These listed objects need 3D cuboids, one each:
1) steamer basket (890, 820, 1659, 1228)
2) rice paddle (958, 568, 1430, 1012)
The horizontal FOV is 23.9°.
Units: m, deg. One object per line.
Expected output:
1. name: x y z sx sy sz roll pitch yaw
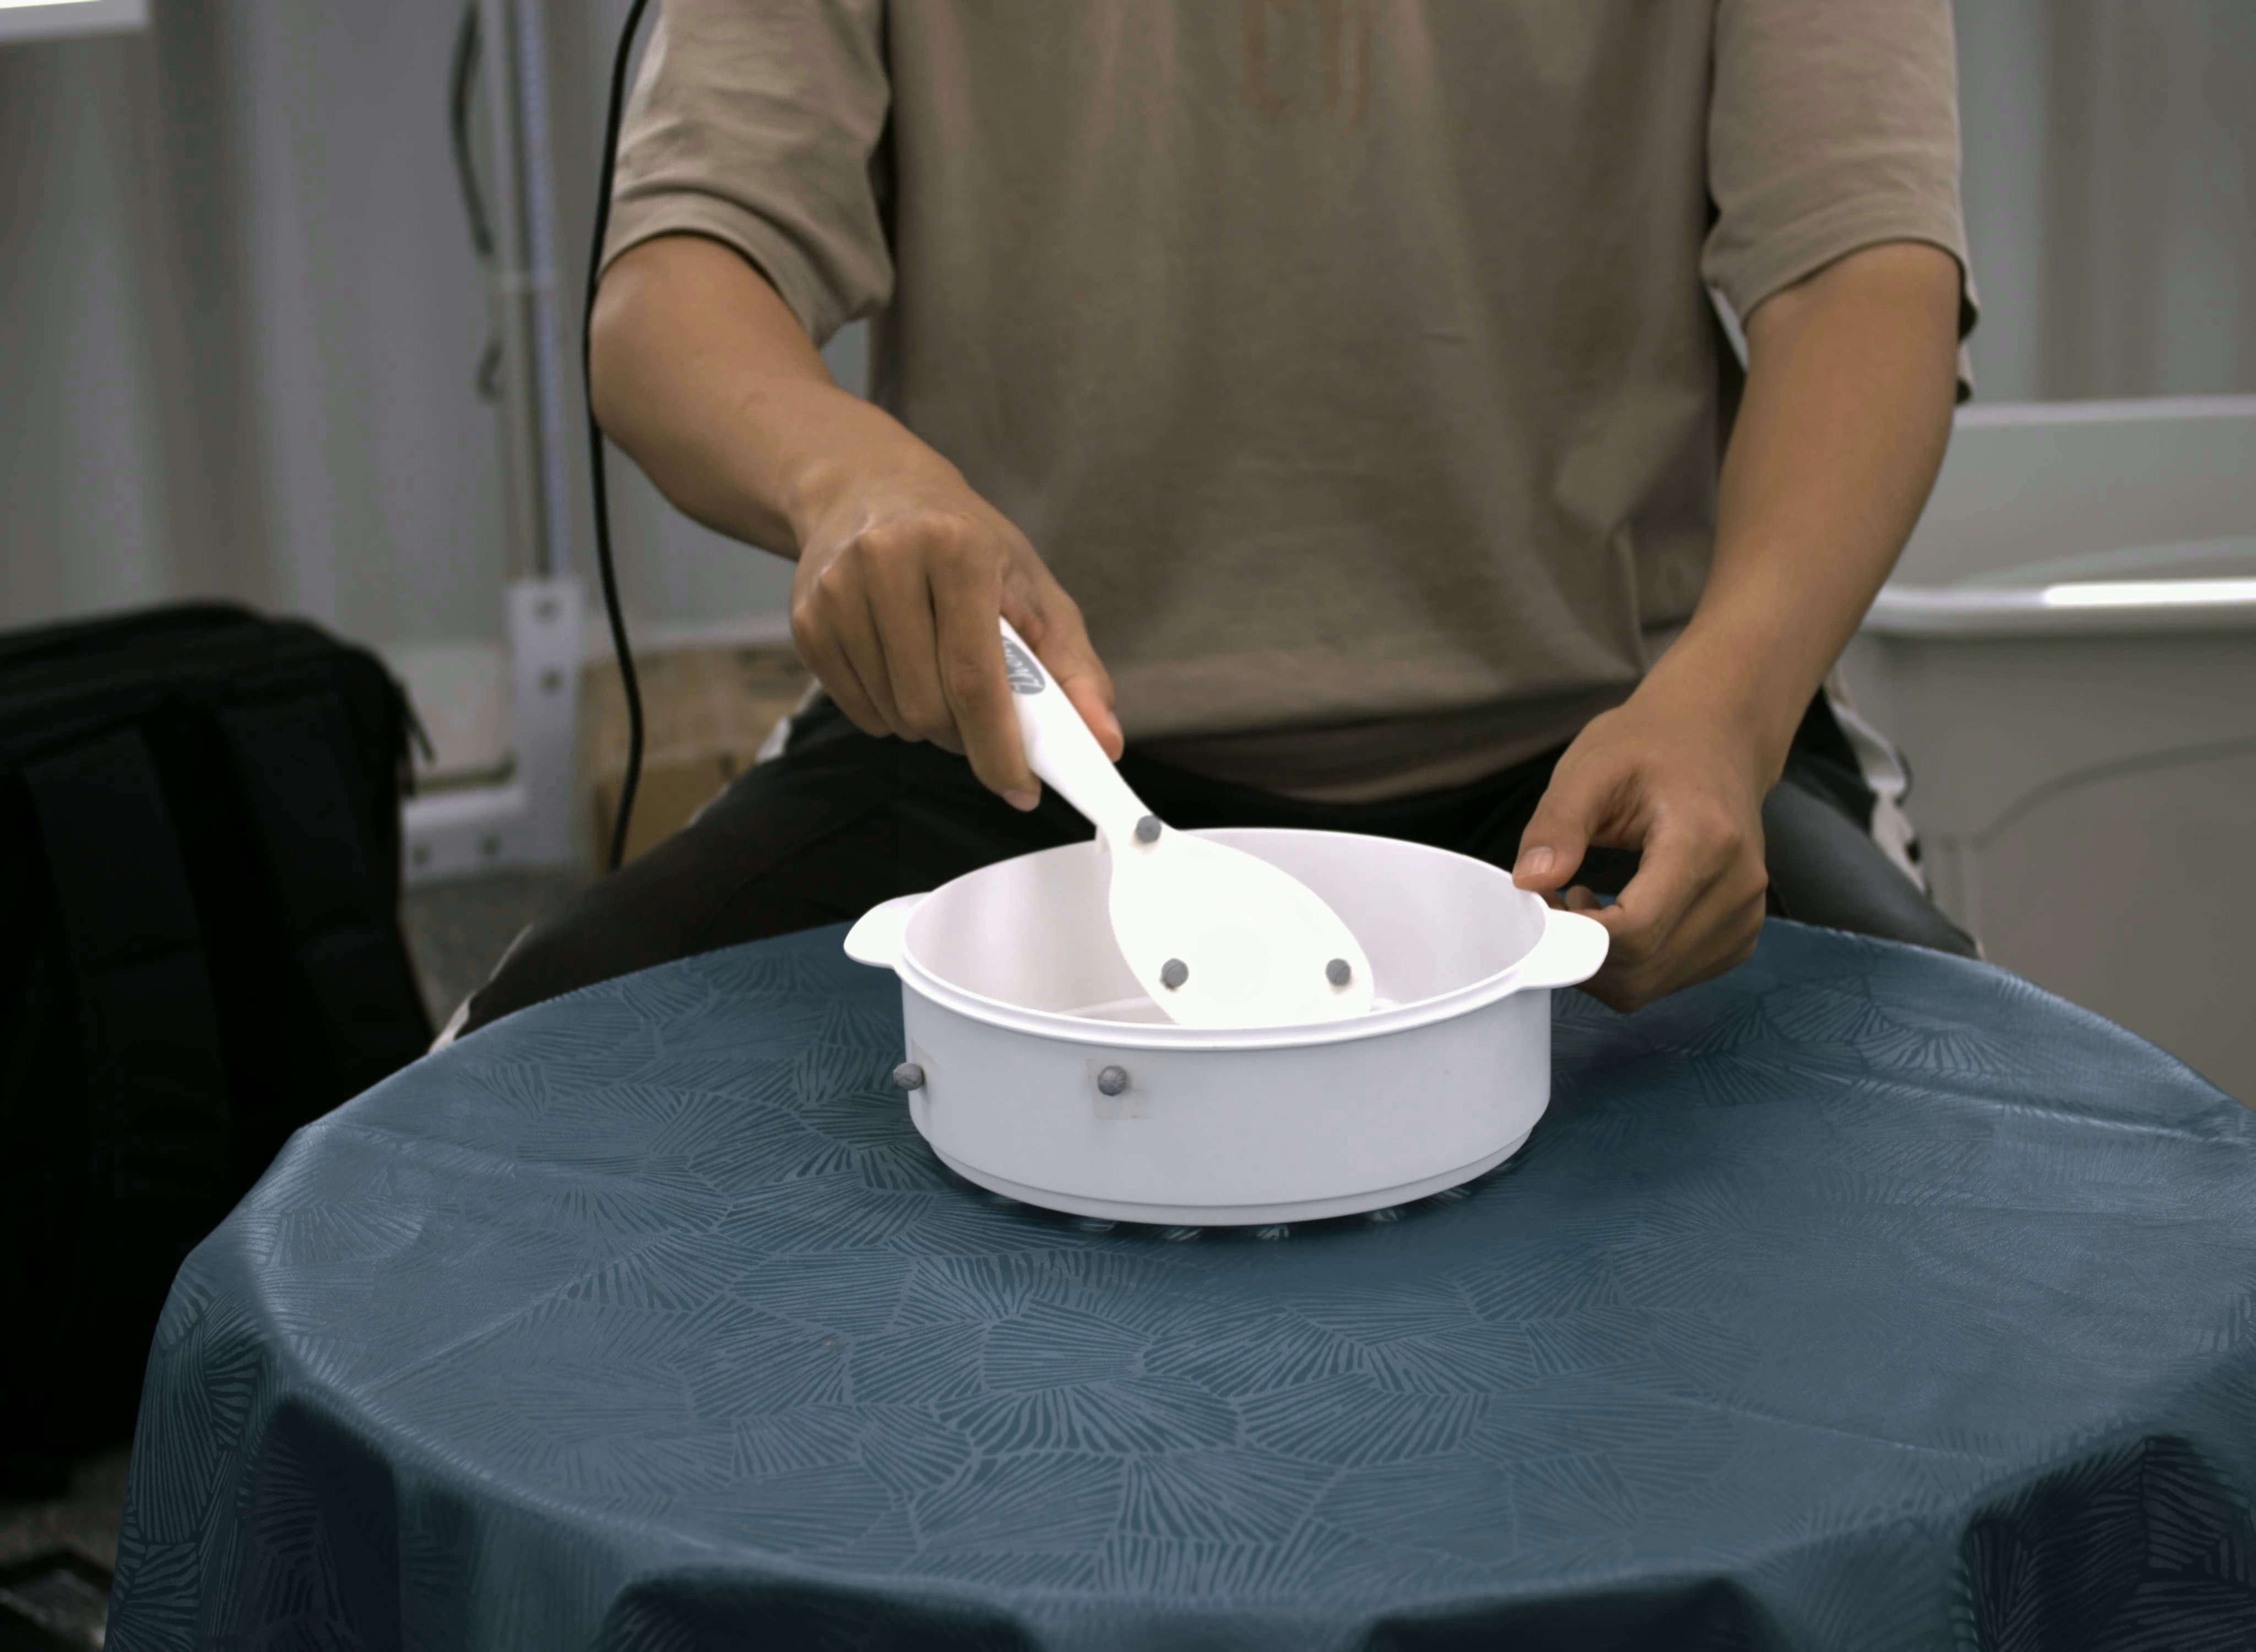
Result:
1. steamer basket: 0.043 0.059 1.592 0.232 0.069 0.200 4 17 13
2. rice paddle: 0.019 -0.003 1.618 0.067 0.029 0.209 -24 55 -26
